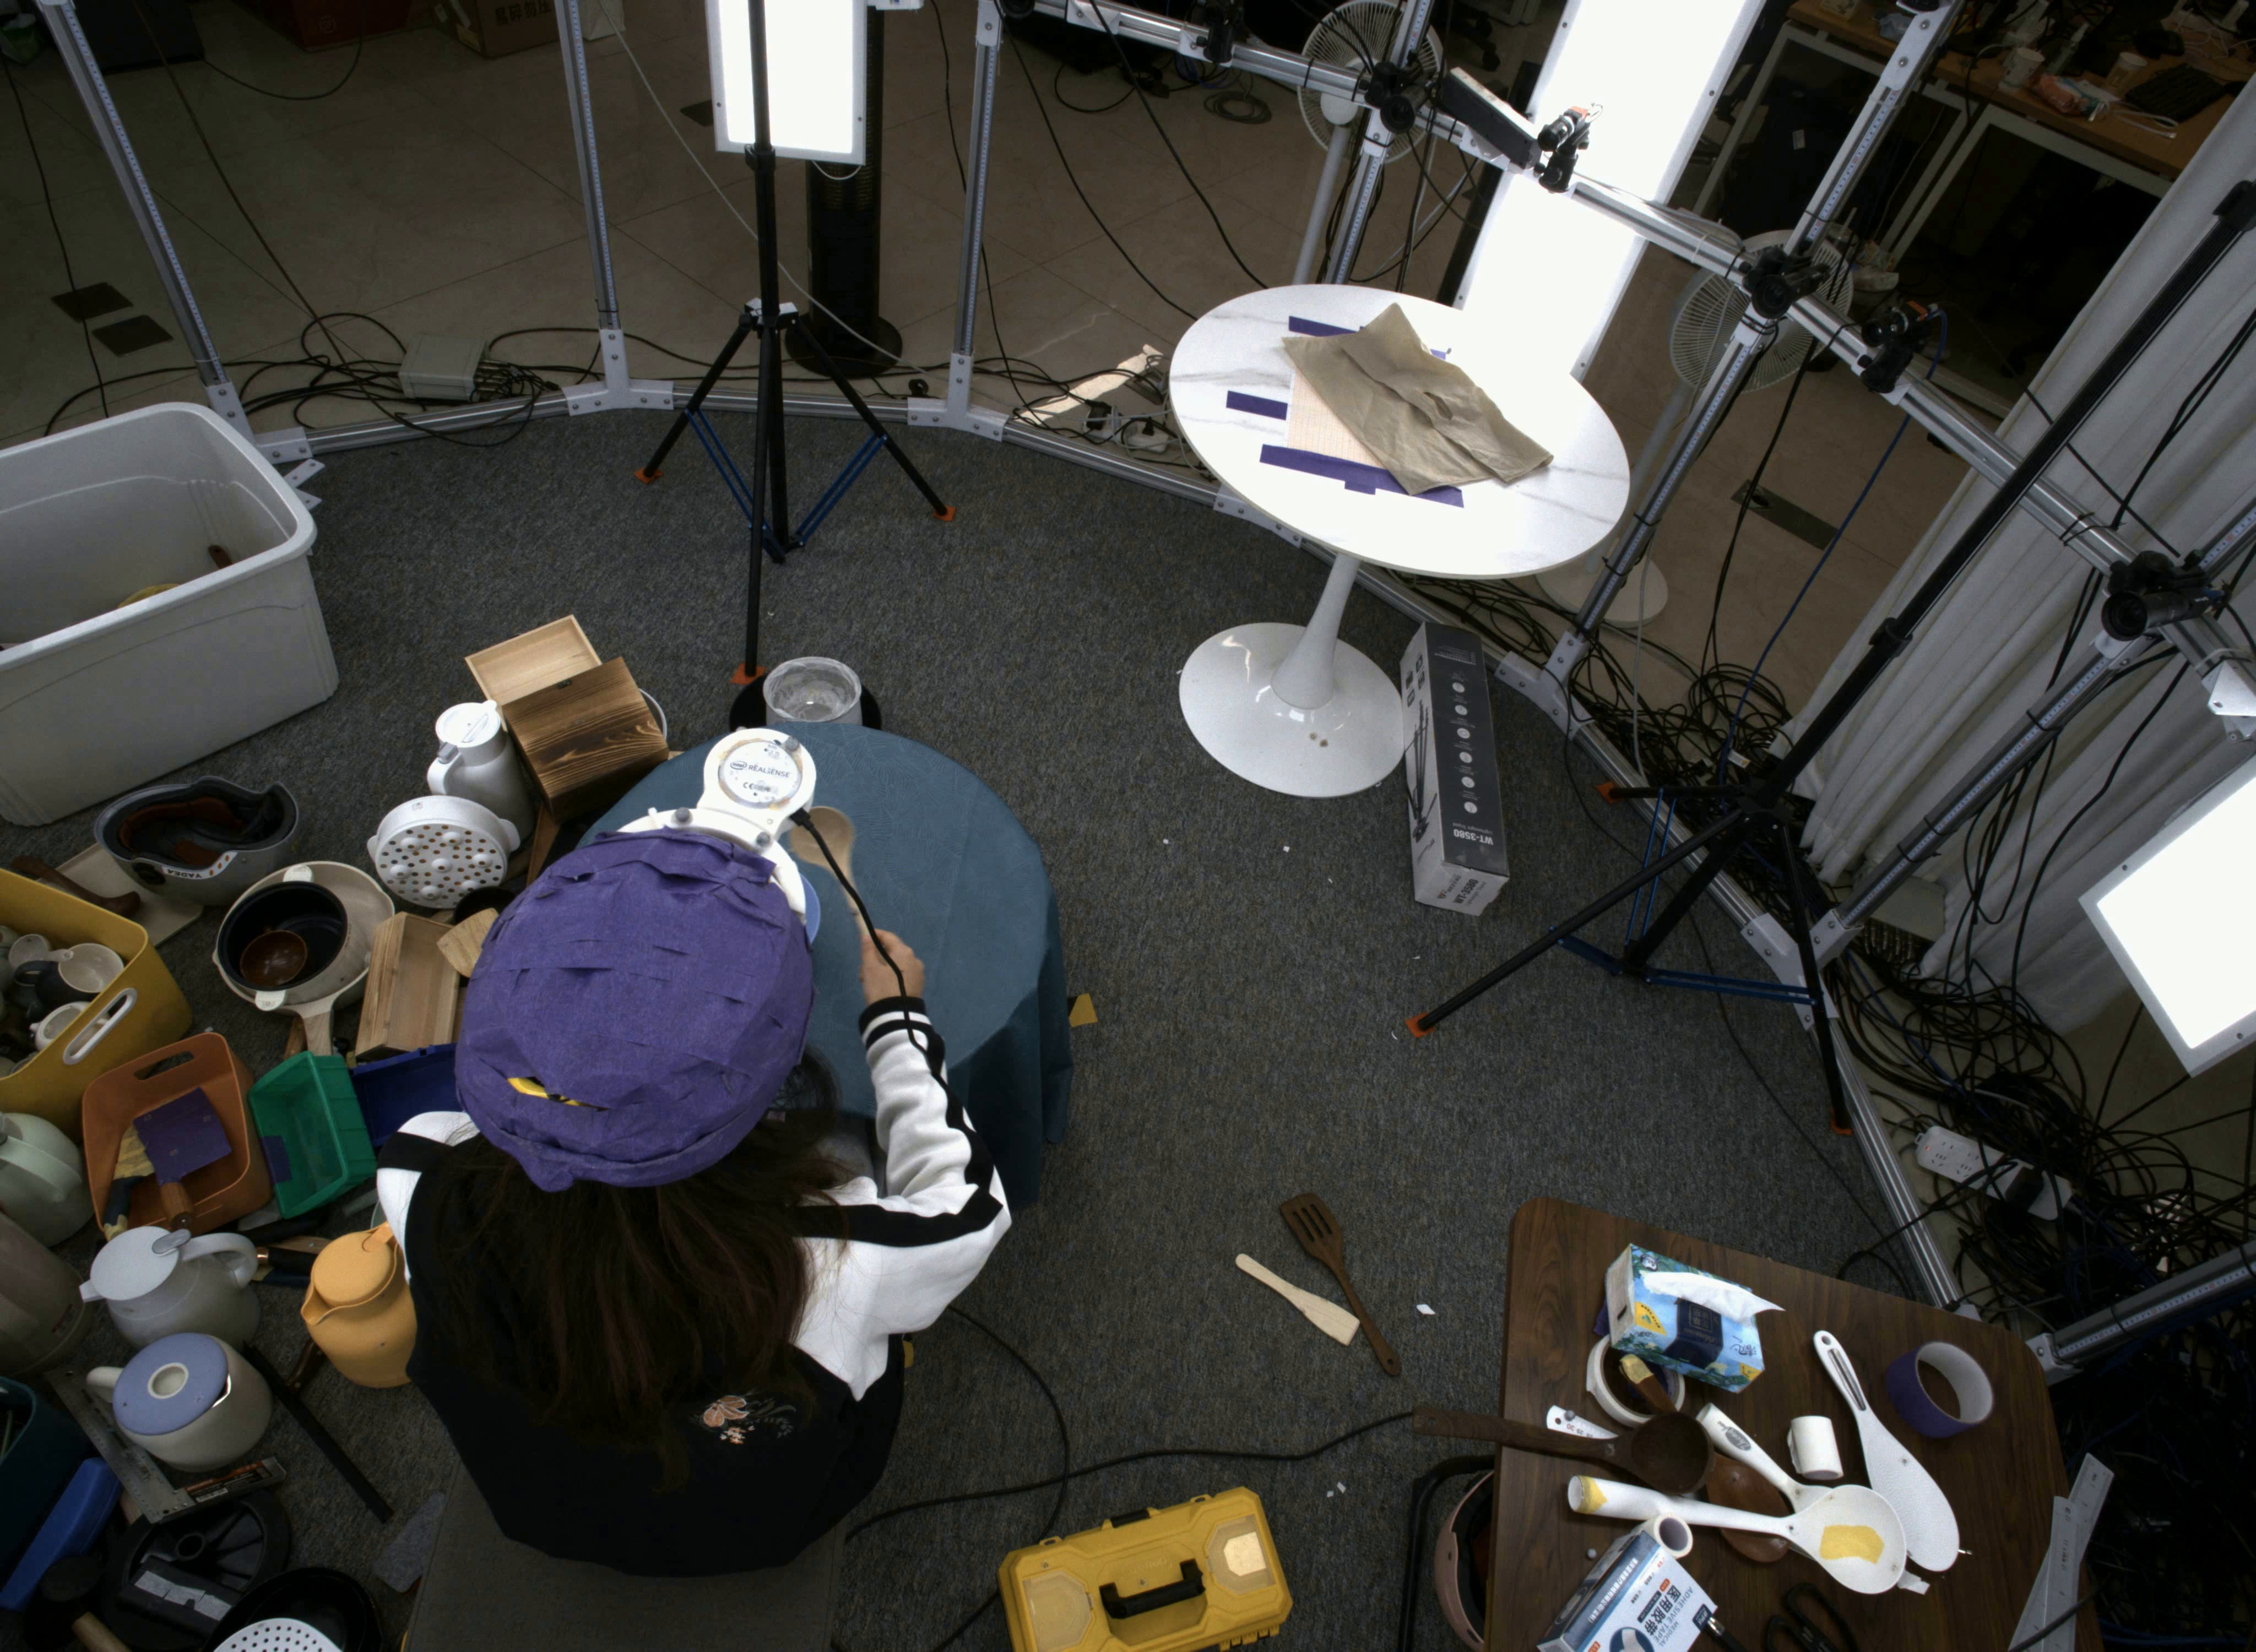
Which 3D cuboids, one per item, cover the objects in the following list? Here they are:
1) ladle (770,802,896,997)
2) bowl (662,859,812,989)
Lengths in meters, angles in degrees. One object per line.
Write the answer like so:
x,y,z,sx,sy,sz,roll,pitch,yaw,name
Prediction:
-0.326,0.076,1.442,0.072,0.075,0.247,-31,60,-10,ladle
-0.471,0.128,1.566,0.175,0.072,0.173,7,52,-8,bowl
